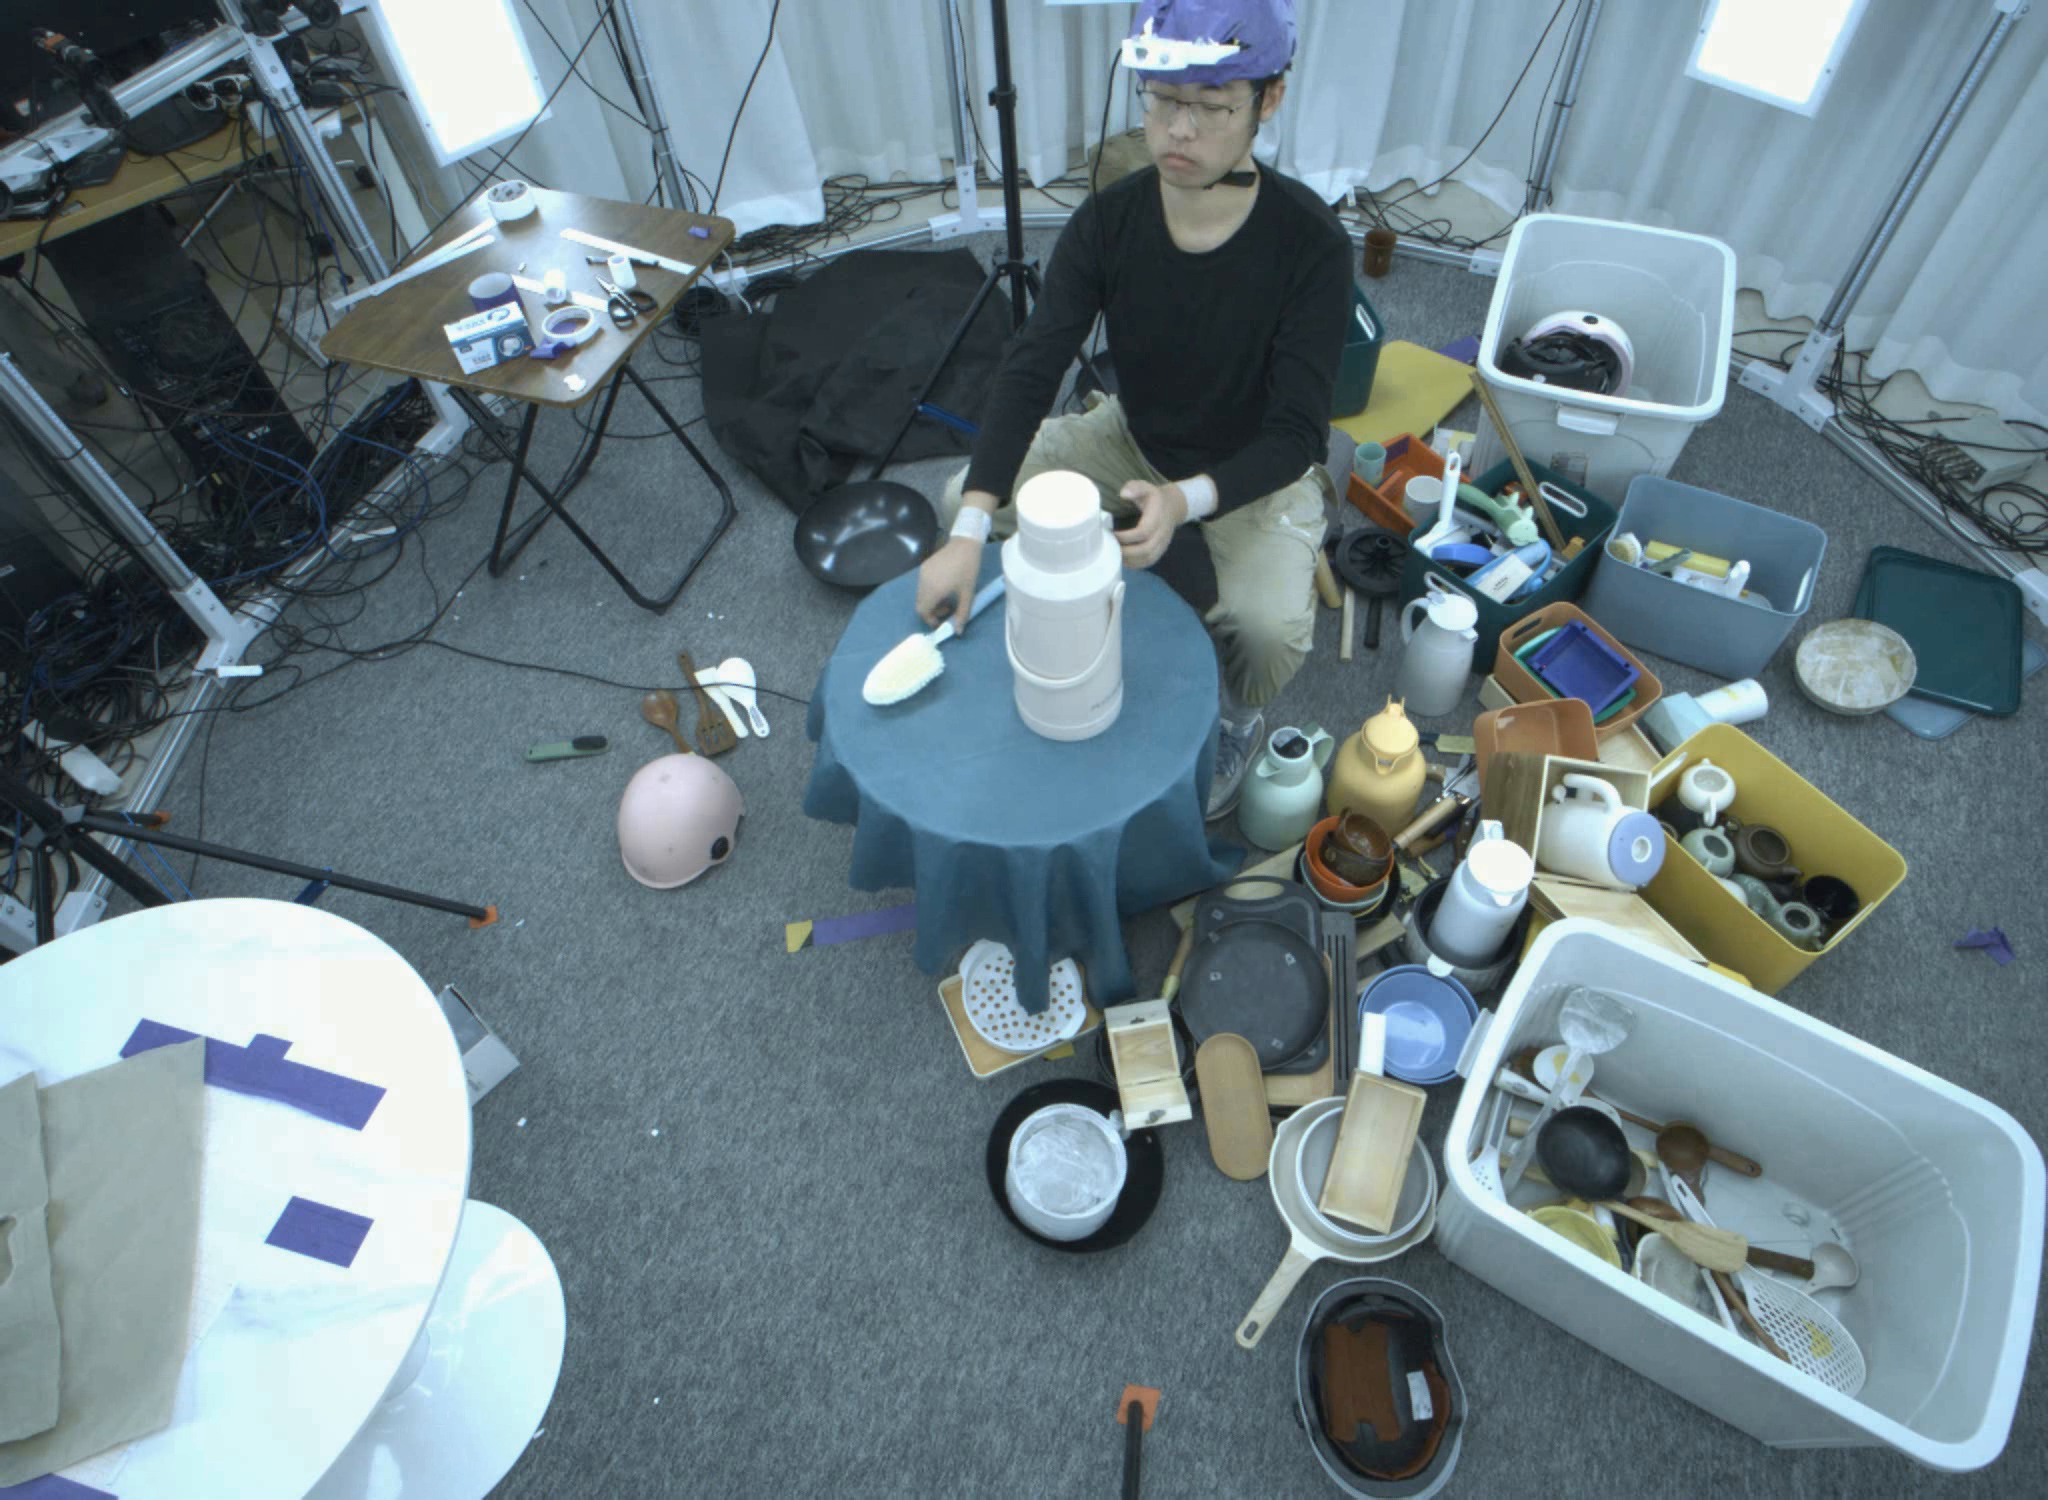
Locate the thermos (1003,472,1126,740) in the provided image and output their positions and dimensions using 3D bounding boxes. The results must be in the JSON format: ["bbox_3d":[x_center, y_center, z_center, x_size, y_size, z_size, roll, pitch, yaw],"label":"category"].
[{"bbox_3d":[0.066,-0.202,1.684,0.173,0.411,0.207,23,59,20],"label":"thermos"}]

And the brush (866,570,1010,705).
[{"bbox_3d":[-0.115,-0.182,1.870,0.083,0.084,0.327,33,64,30],"label":"brush"}]
